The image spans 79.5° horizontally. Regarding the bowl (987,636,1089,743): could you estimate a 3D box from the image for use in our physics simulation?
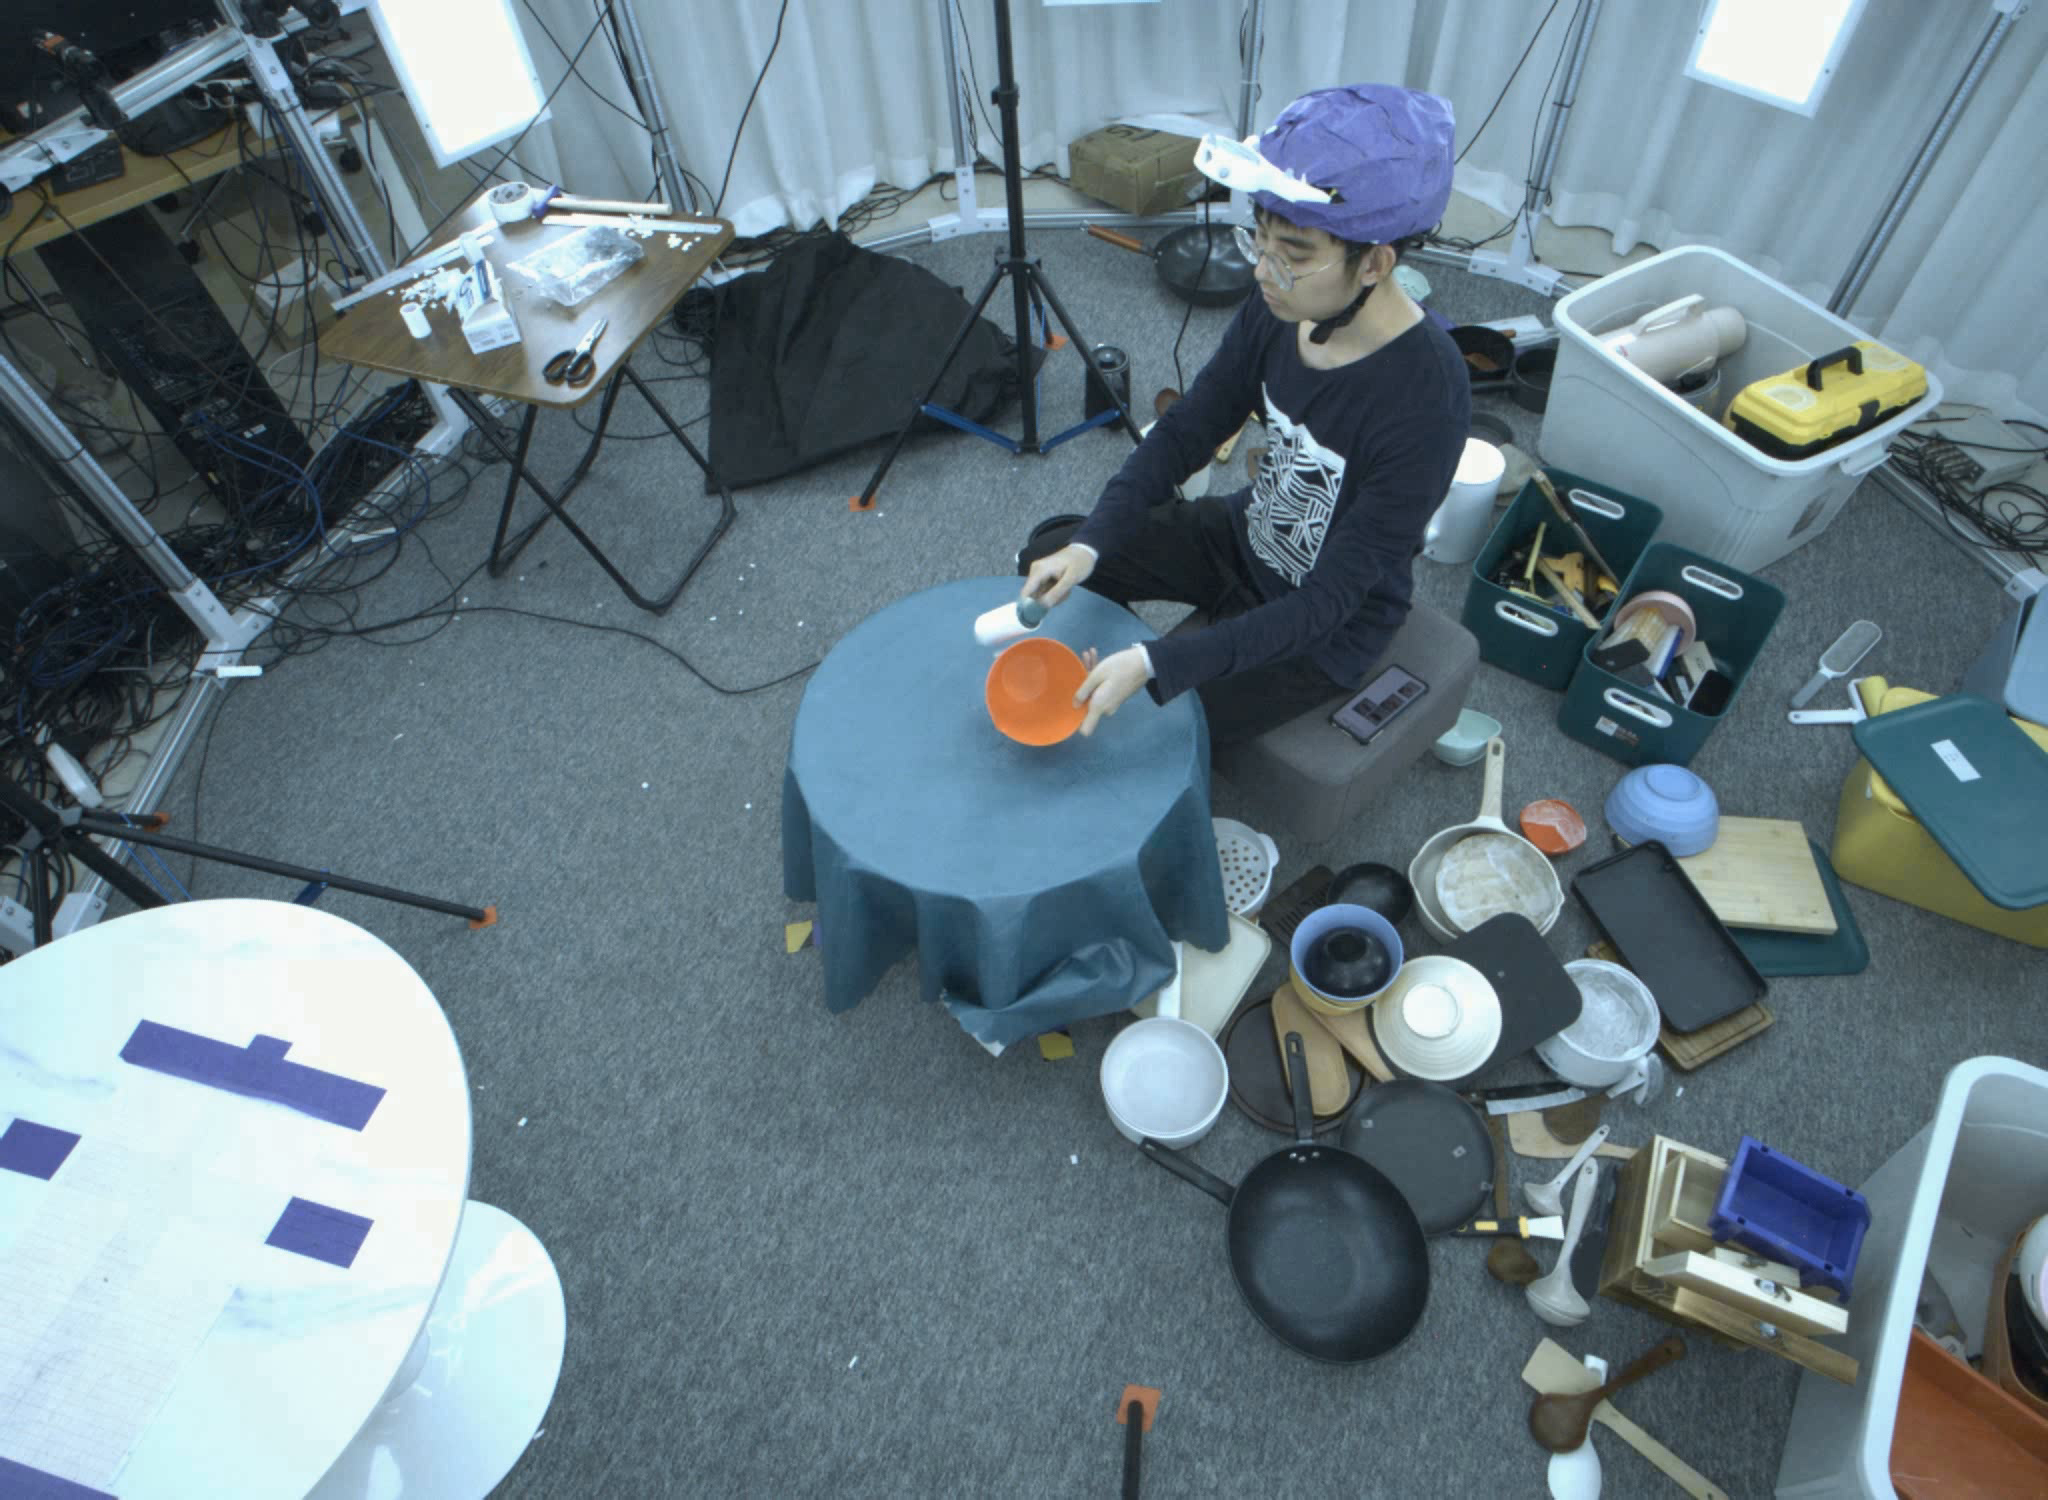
[{"bbox_3d":[0.010,-0.091,1.748,0.149,0.149,0.103,-21,16,-12],"label":"bowl"}]

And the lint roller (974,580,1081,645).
[{"bbox_3d":[0.017,-0.219,1.779,0.181,0.132,0.049,-43,108,-35],"label":"lint roller"}]
